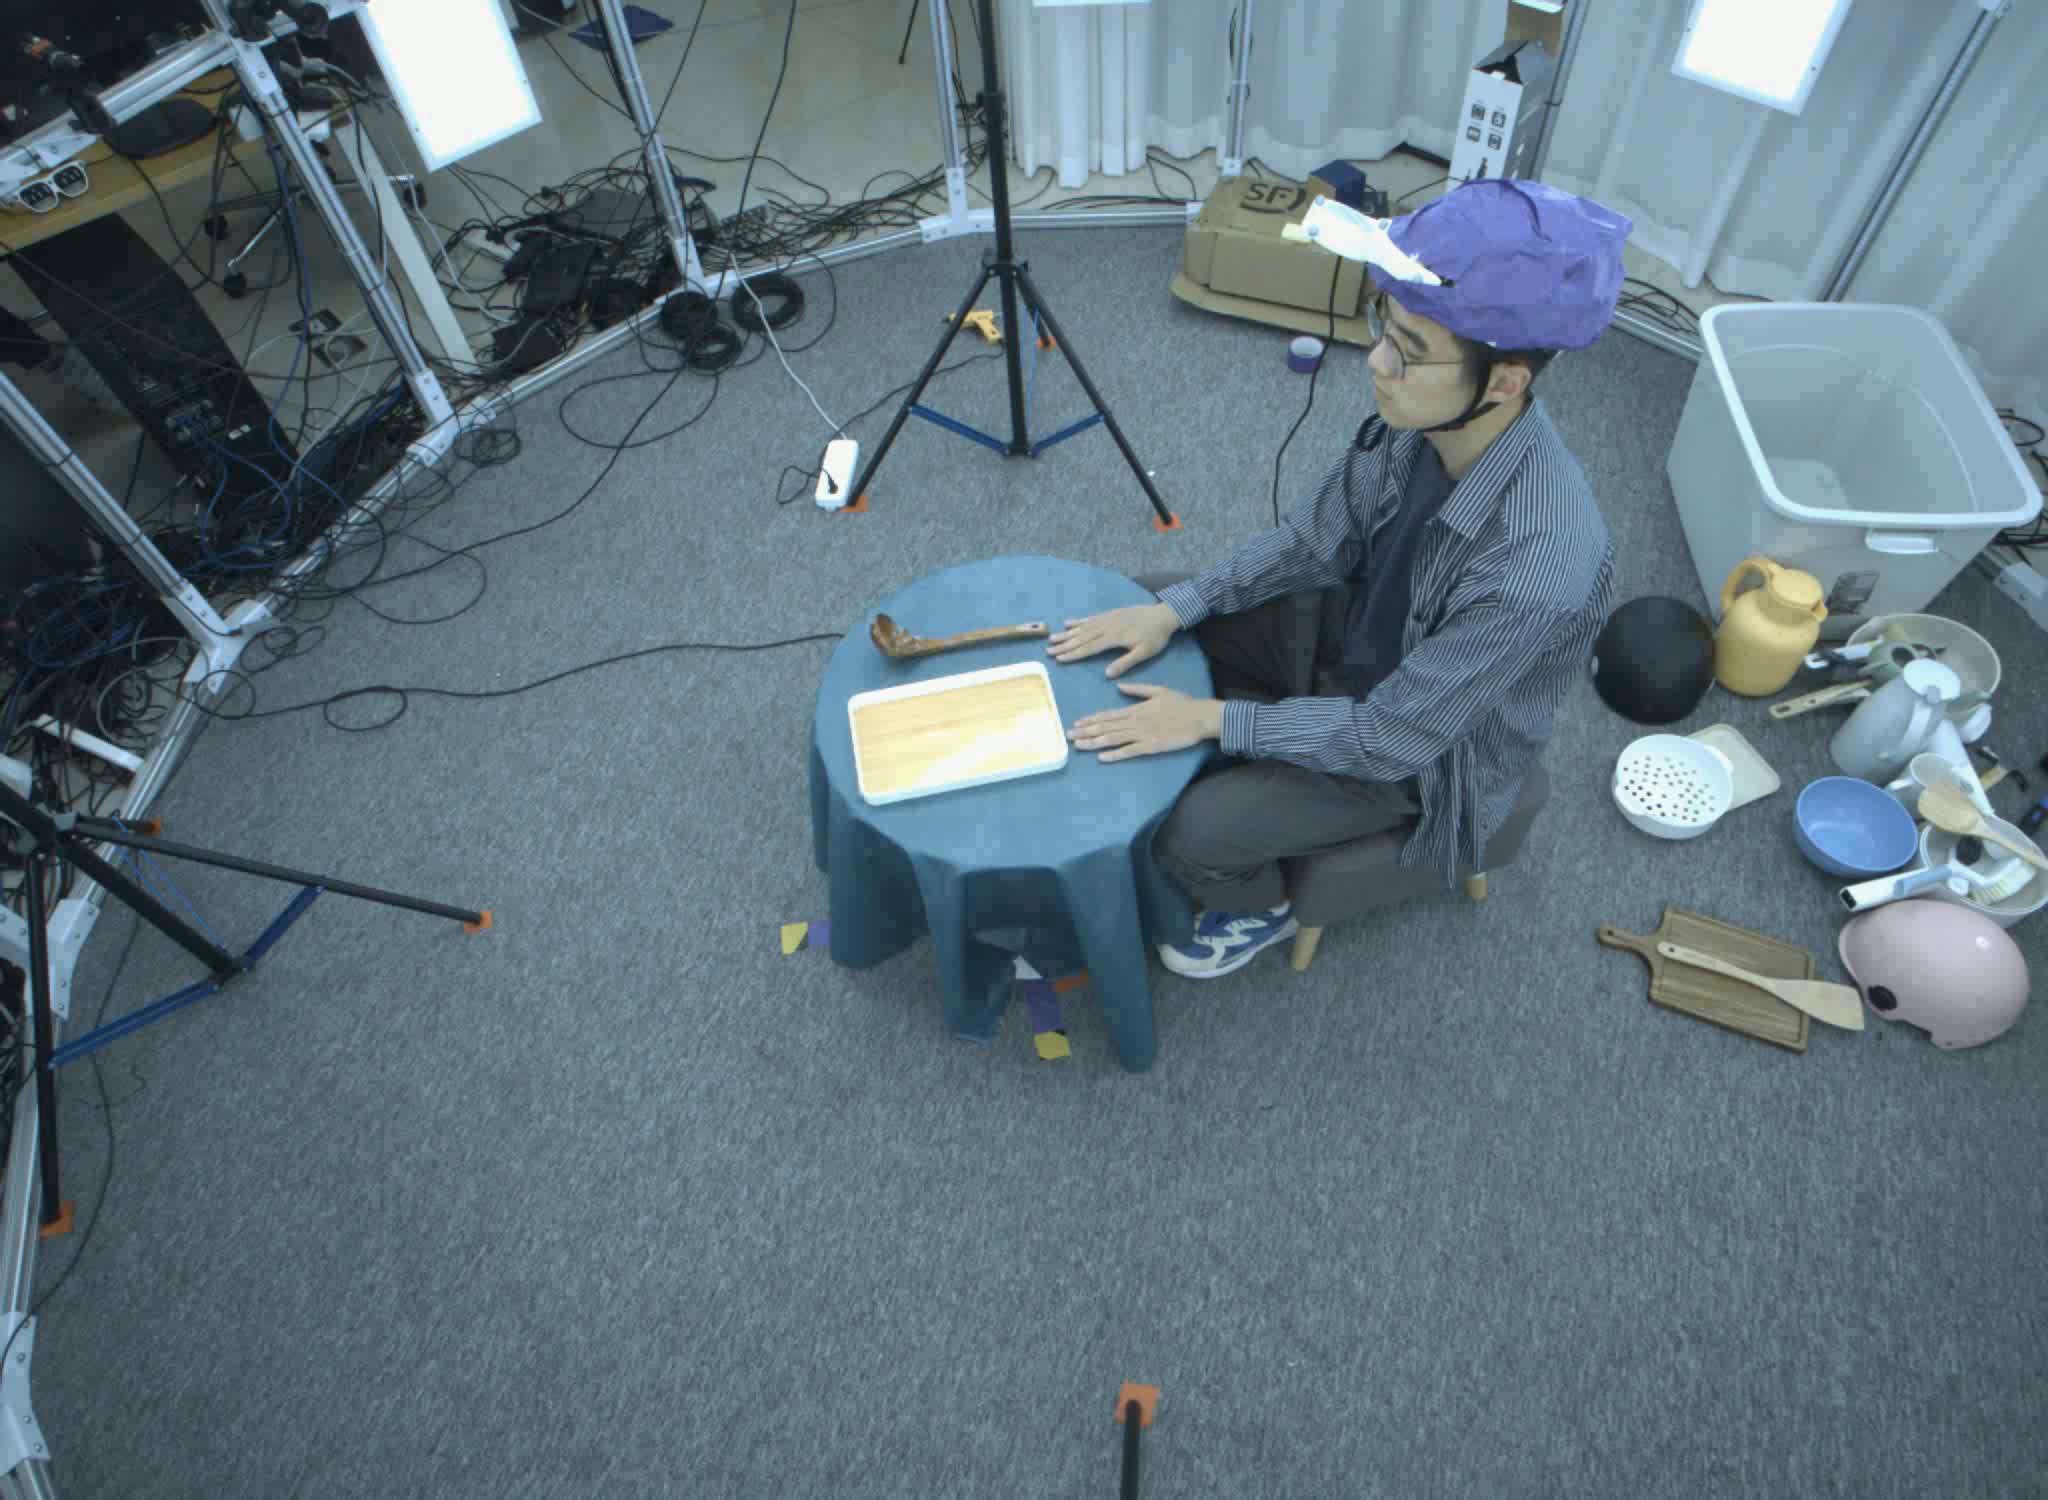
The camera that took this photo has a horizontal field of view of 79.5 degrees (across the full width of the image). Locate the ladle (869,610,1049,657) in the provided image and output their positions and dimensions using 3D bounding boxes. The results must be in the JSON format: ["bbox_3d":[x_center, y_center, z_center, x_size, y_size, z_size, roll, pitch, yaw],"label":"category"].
[{"bbox_3d":[-0.100,-0.191,1.883,0.275,0.077,0.081,-8,51,-3],"label":"ladle"}]

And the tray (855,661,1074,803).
[{"bbox_3d":[-0.090,-0.029,1.800,0.301,0.028,0.189,-10,55,-6],"label":"tray"}]
